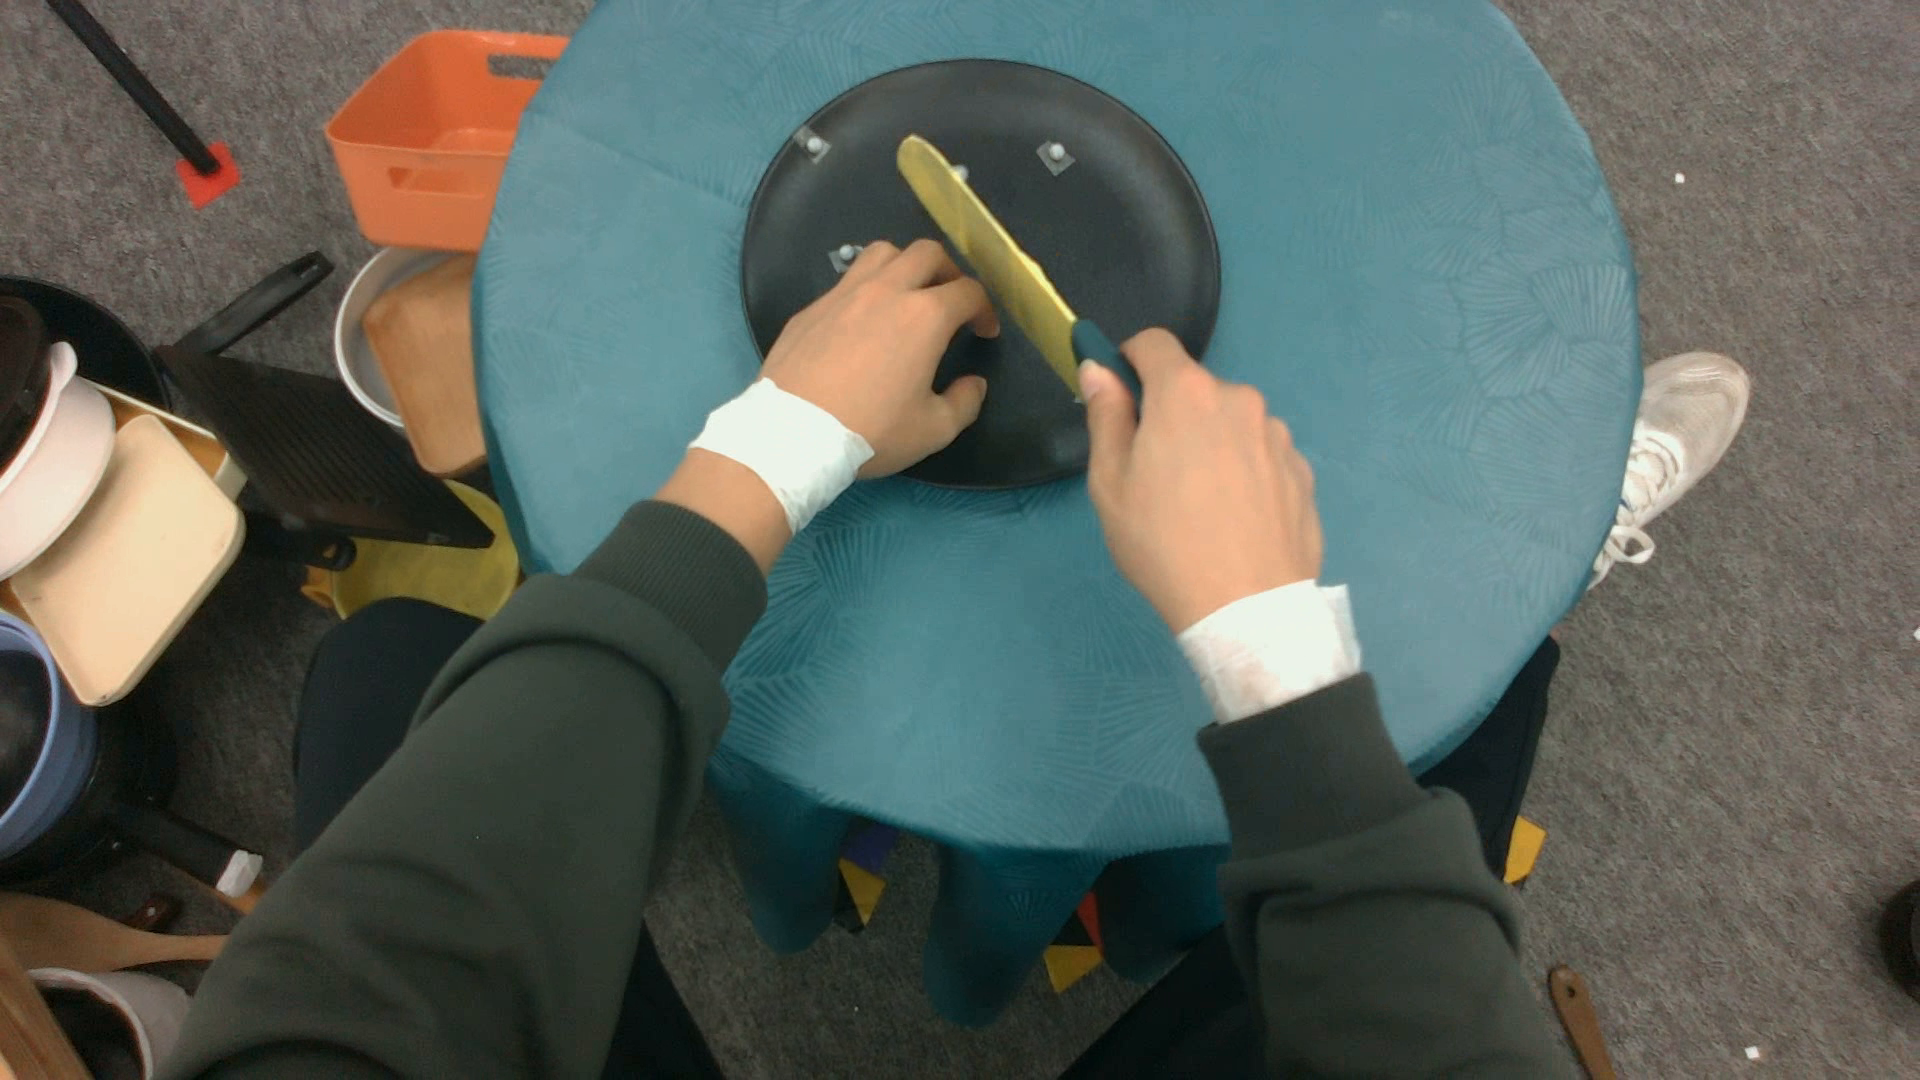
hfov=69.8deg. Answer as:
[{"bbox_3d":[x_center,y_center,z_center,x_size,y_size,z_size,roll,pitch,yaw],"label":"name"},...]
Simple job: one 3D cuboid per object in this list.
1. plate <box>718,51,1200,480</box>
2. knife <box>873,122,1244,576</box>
[{"bbox_3d":[0.000,-0.143,0.702,0.244,0.023,0.245,1,71,-3],"label":"plate"},{"bbox_3d":[0.034,-0.093,0.626,0.027,0.081,0.290,-34,66,-5],"label":"knife"}]
